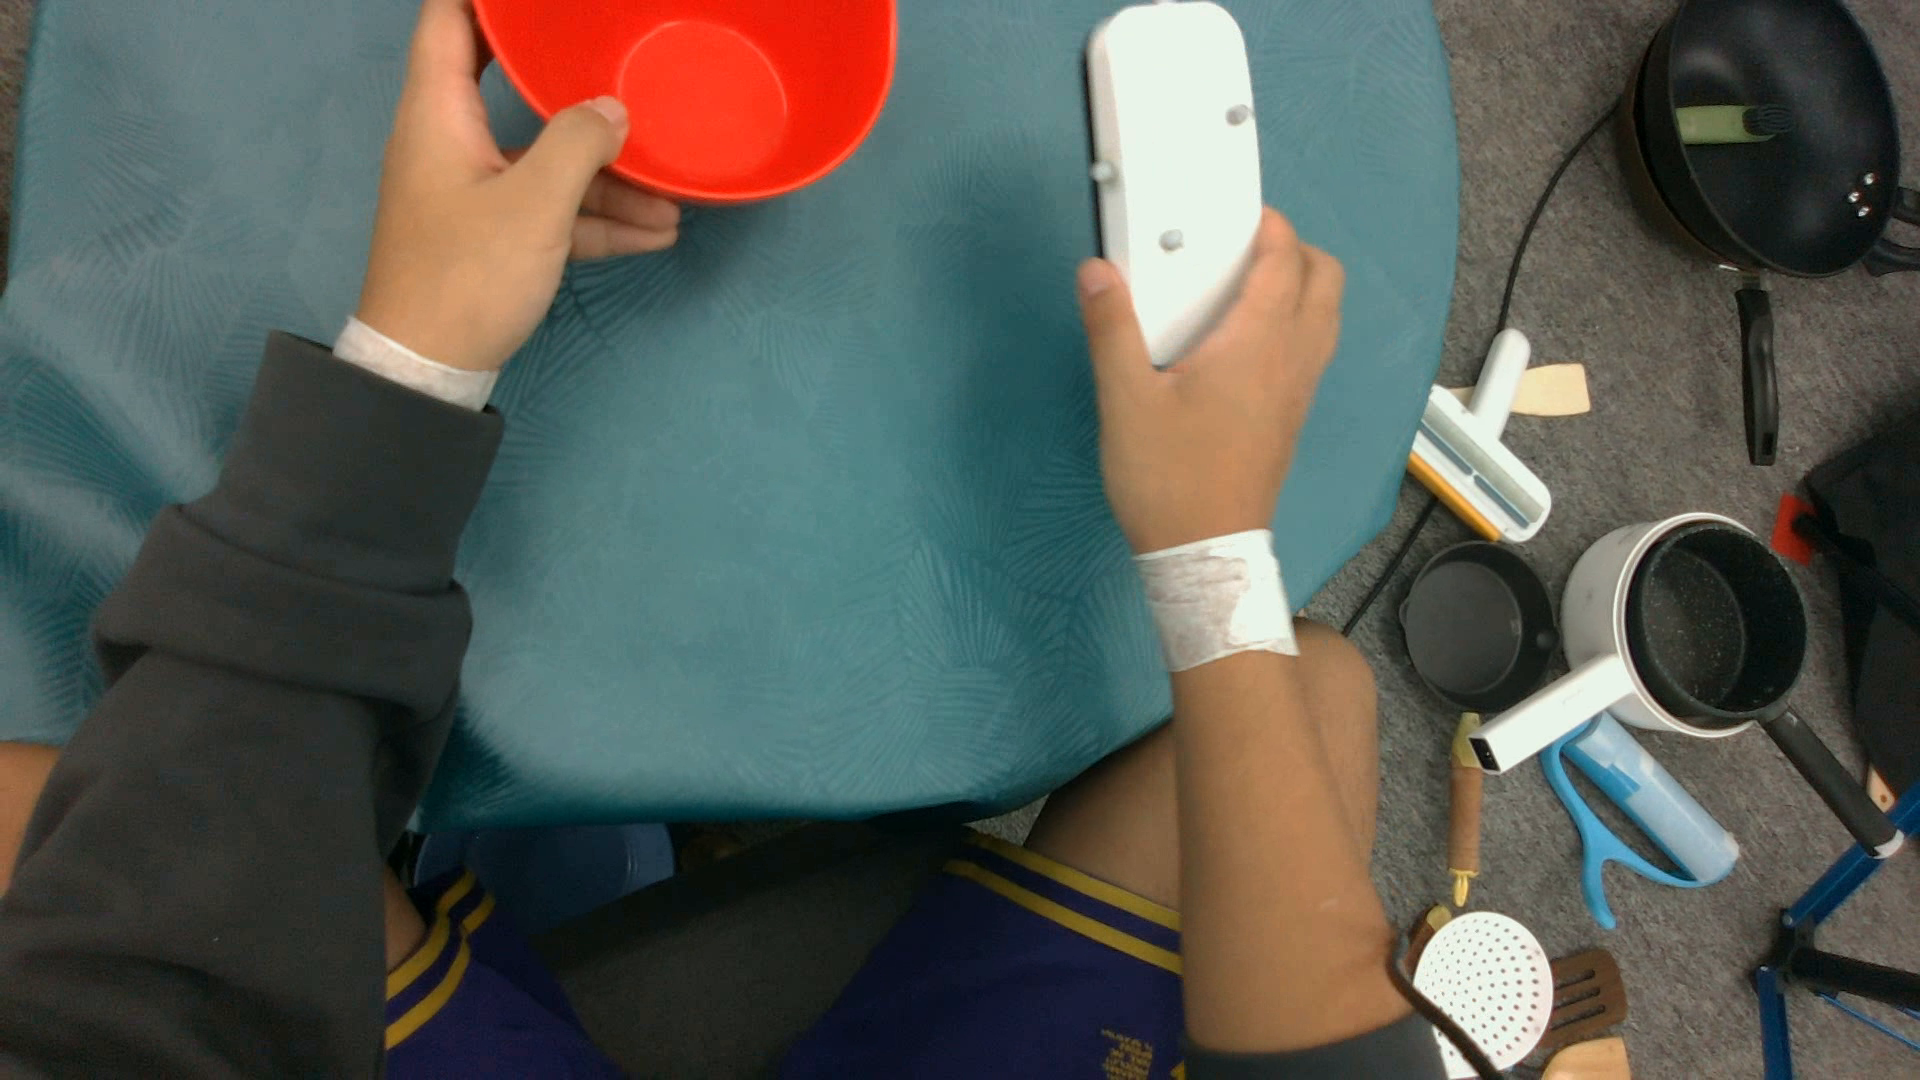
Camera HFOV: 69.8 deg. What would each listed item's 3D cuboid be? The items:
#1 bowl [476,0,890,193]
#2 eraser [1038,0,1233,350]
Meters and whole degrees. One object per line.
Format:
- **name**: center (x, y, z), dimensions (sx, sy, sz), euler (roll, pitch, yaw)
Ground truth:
- **bowl**: center (-0.104, -0.192, 0.514), dimensions (0.148, 0.104, 0.148), euler (2, 83, -17)
- **eraser**: center (0.066, -0.139, 0.515), dimensions (0.063, 0.034, 0.131), euler (-17, 106, -26)
